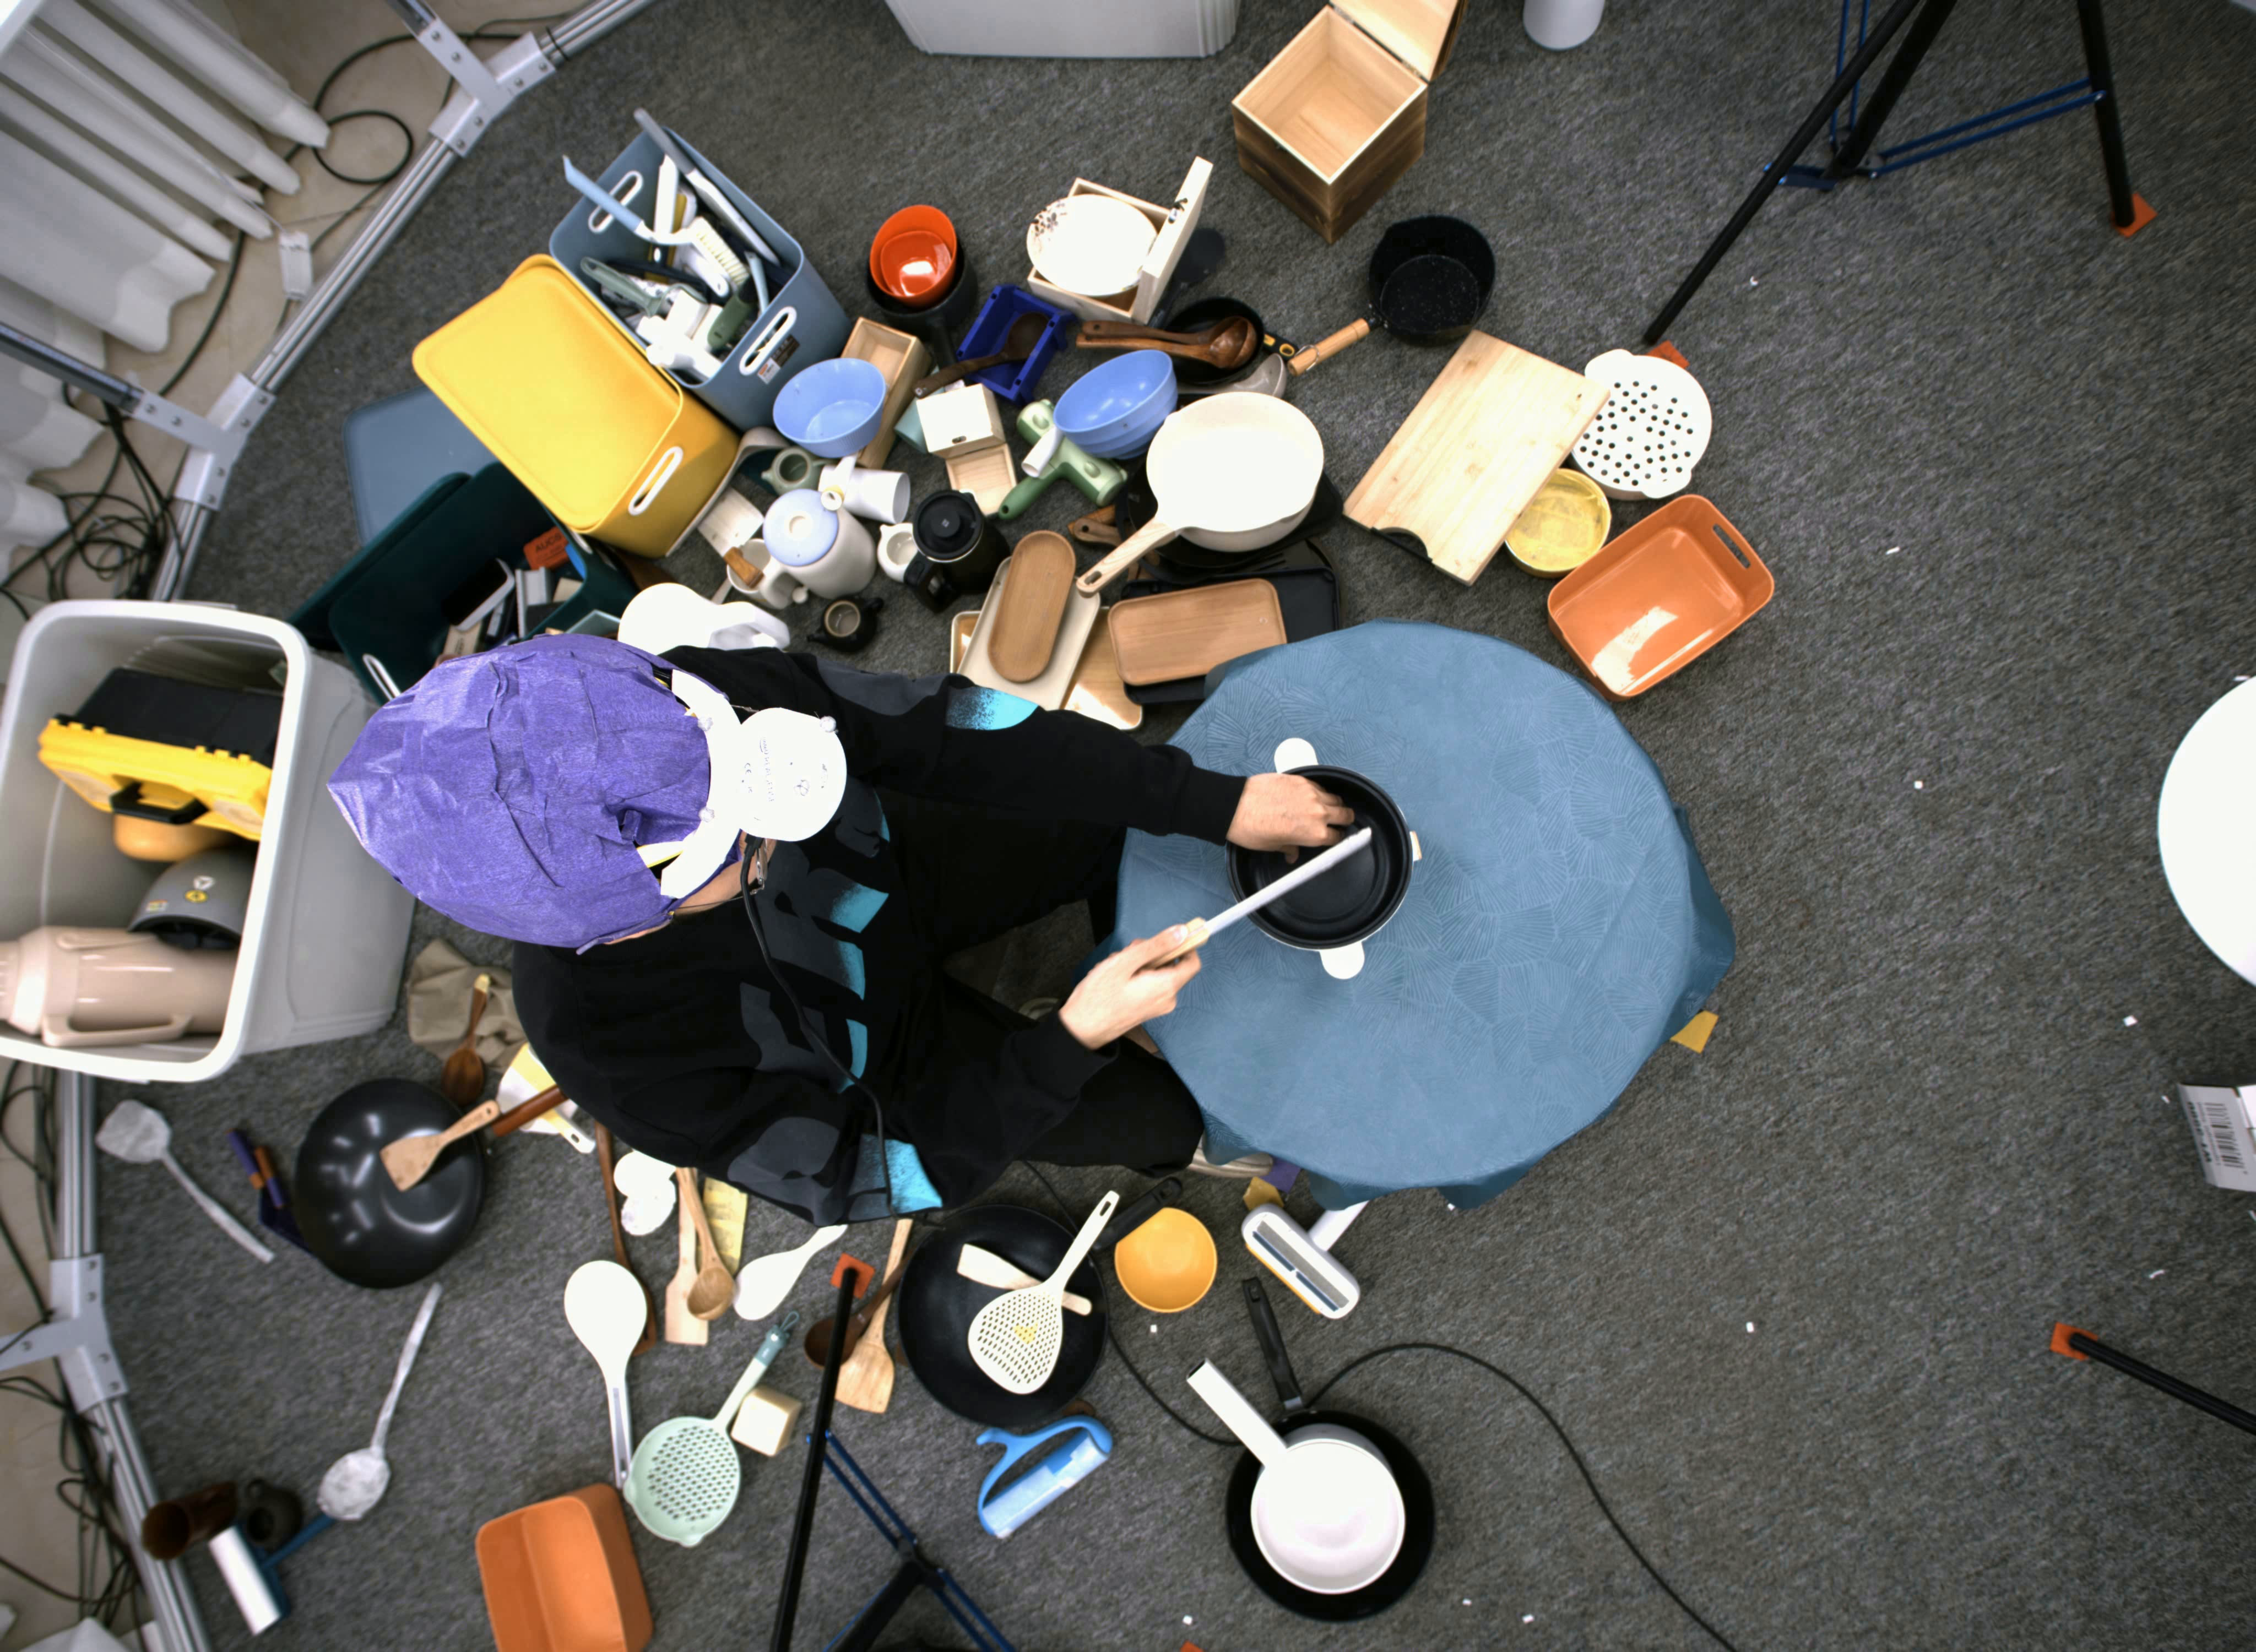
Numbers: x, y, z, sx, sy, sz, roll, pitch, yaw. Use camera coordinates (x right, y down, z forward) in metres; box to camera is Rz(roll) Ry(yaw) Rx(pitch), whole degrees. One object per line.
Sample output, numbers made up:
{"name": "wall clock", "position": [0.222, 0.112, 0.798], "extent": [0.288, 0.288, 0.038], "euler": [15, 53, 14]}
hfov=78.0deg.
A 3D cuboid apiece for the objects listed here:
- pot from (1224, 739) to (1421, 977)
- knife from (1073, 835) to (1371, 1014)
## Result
{"name": "pot", "position": [0.200, 0.034, 1.403], "extent": [0.192, 0.142, 0.239], "euler": [-15, 83, 12]}
{"name": "knife", "position": [0.091, 0.086, 1.264], "extent": [0.315, 0.115, 0.021], "euler": [-29, 78, -3]}
